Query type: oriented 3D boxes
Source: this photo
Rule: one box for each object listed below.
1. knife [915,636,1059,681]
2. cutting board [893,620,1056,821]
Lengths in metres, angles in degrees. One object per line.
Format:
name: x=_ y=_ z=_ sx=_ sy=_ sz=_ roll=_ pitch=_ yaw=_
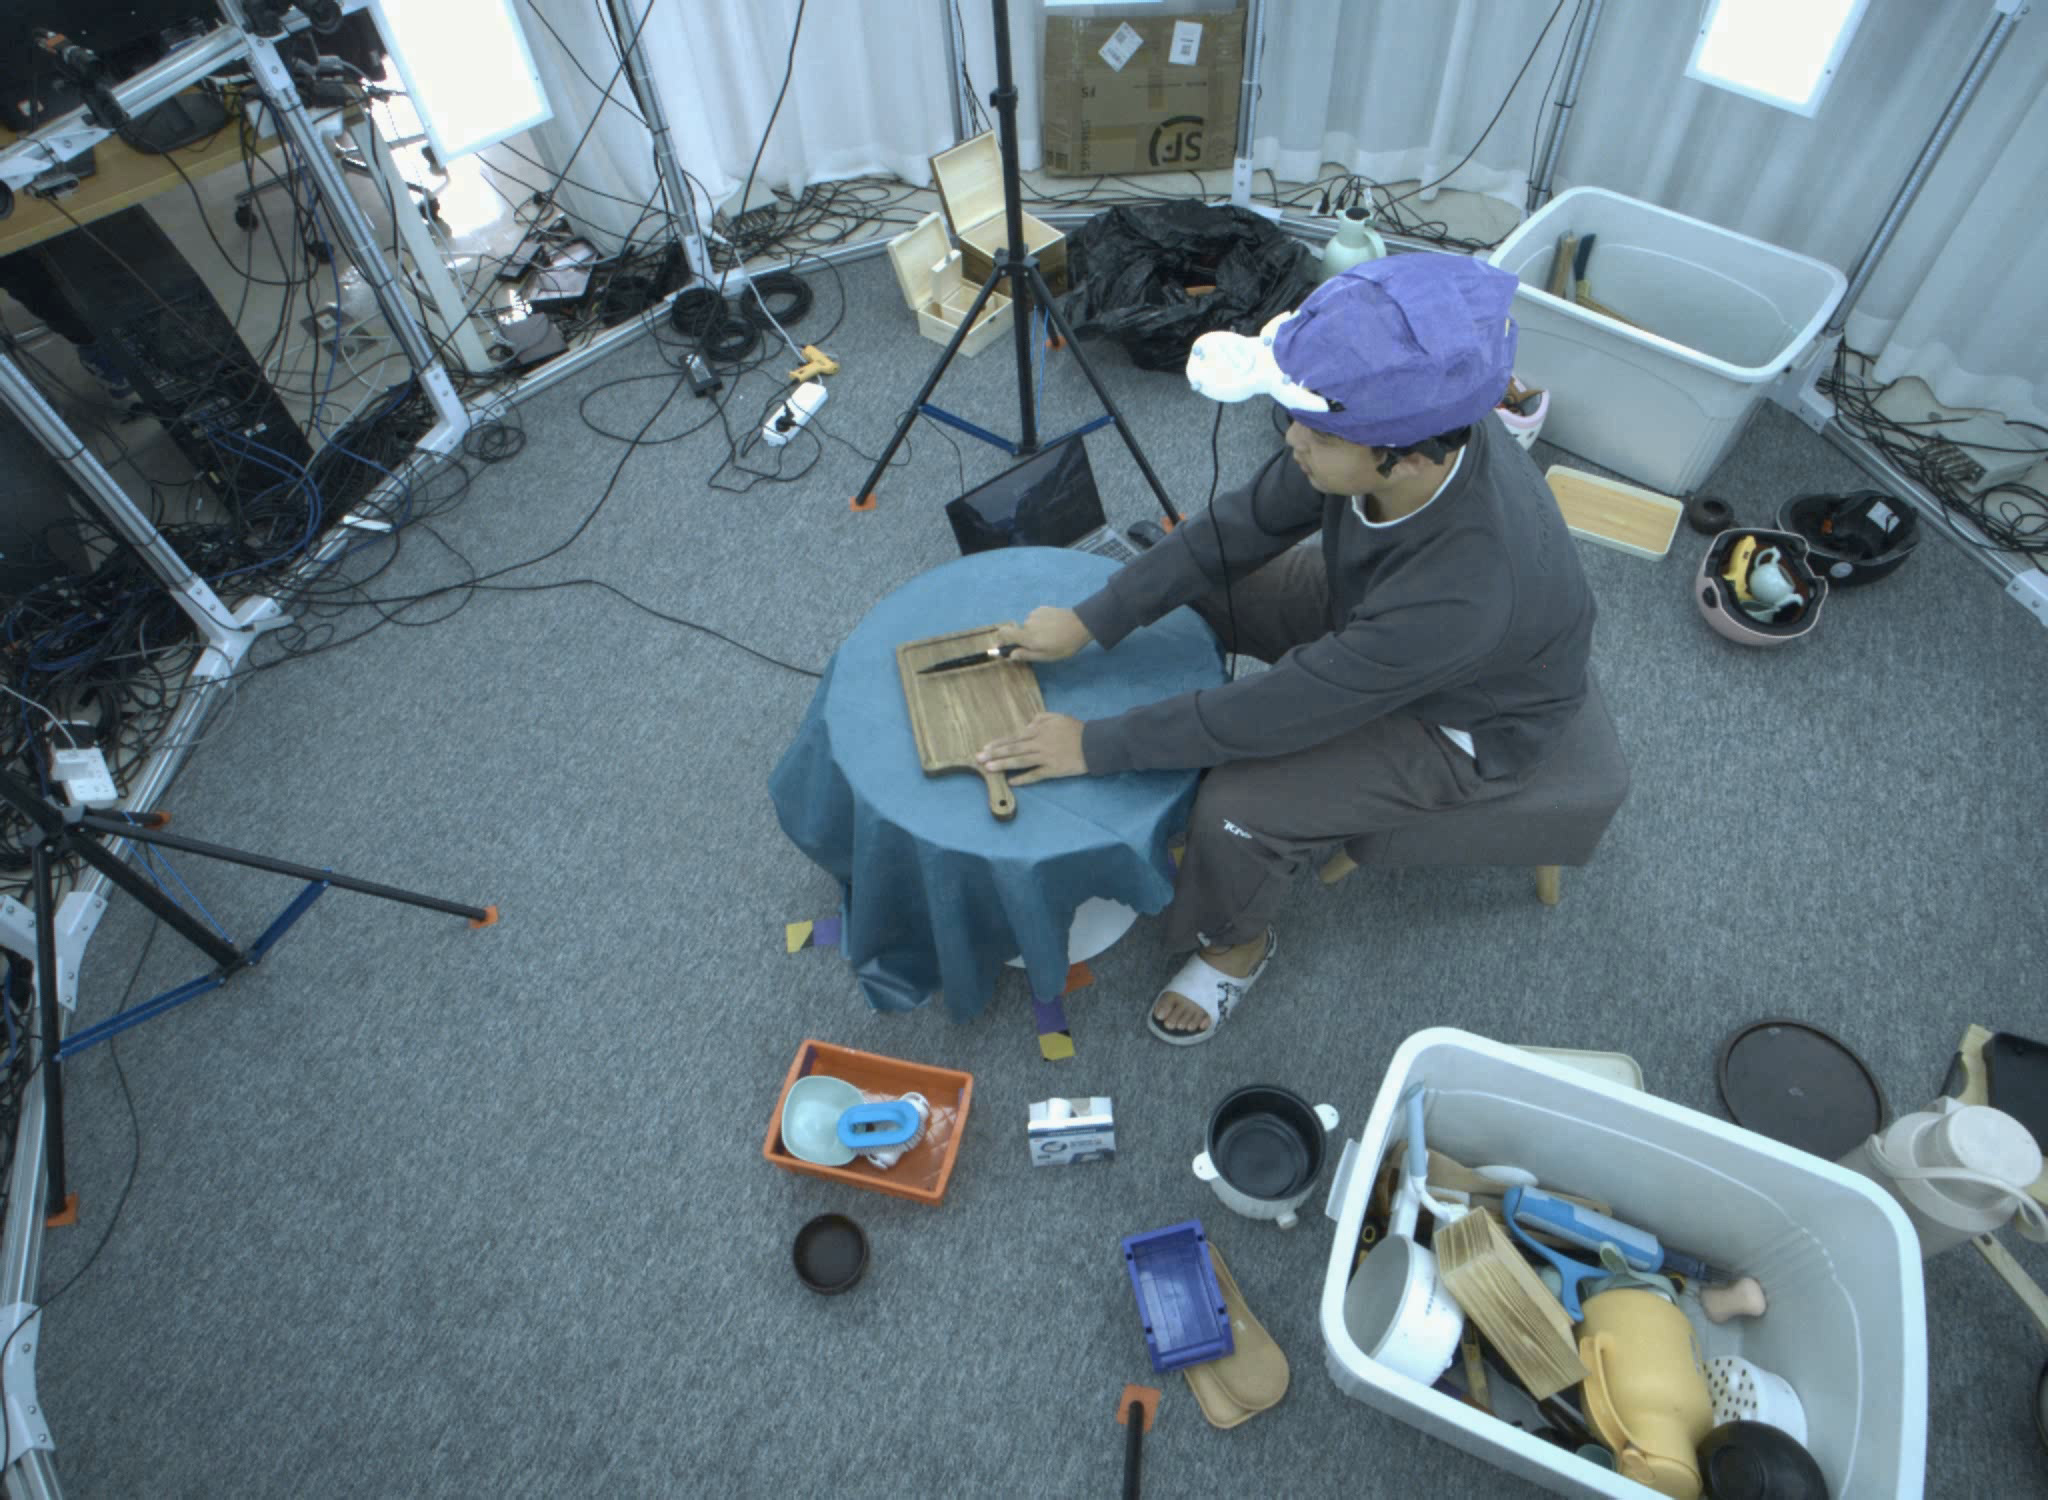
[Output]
knife: x=-0.056 y=-0.138 z=1.851 sx=0.226 sy=0.026 sz=0.017 roll=-14 pitch=46 yaw=-6
cutting board: x=-0.066 y=-0.042 z=1.806 sx=0.202 sy=0.023 sz=0.346 roll=-12 pitch=55 yaw=-7
